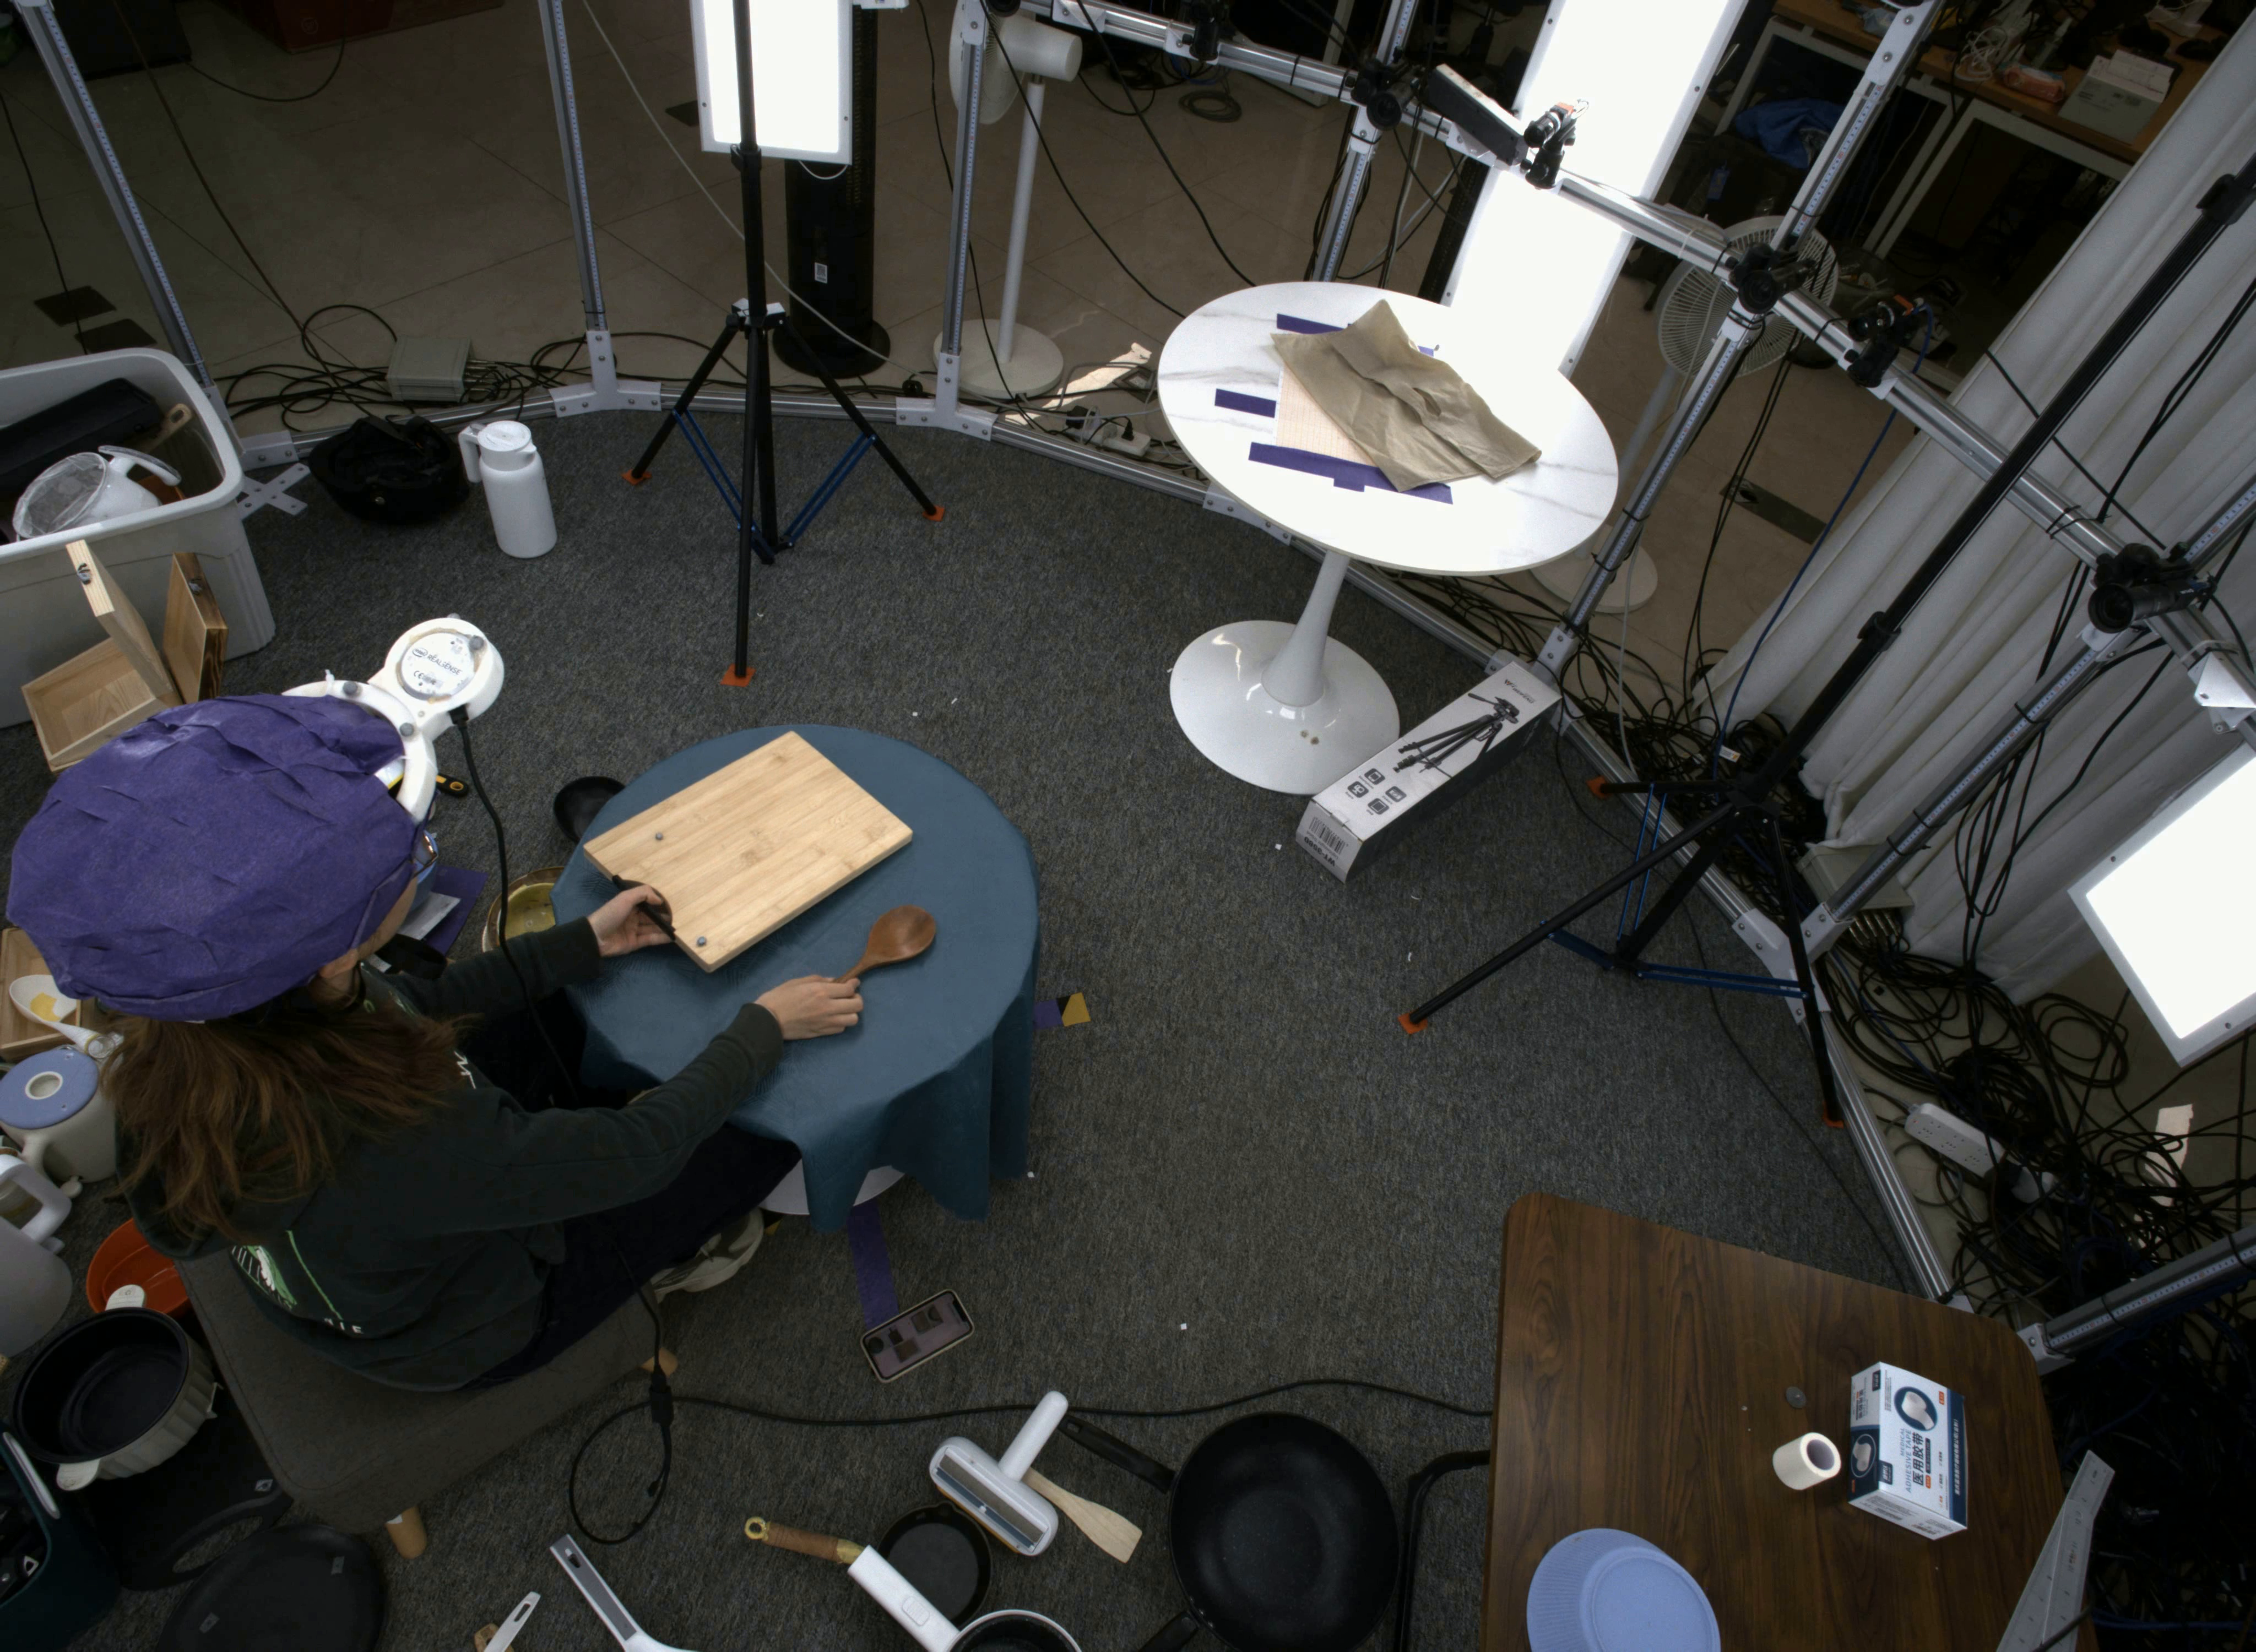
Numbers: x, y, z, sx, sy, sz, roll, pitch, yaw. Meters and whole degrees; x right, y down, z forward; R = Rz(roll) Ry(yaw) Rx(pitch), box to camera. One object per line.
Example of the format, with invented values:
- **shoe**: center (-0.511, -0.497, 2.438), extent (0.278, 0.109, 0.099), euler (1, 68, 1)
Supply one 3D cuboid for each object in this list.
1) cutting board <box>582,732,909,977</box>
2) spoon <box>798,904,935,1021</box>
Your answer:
- **cutting board**: center (-0.485, 0.023, 1.659), extent (0.245, 0.024, 0.349), euler (38, 47, 15)
- **spoon**: center (-0.326, 0.168, 1.615), extent (0.074, 0.017, 0.216), euler (39, 52, 13)
